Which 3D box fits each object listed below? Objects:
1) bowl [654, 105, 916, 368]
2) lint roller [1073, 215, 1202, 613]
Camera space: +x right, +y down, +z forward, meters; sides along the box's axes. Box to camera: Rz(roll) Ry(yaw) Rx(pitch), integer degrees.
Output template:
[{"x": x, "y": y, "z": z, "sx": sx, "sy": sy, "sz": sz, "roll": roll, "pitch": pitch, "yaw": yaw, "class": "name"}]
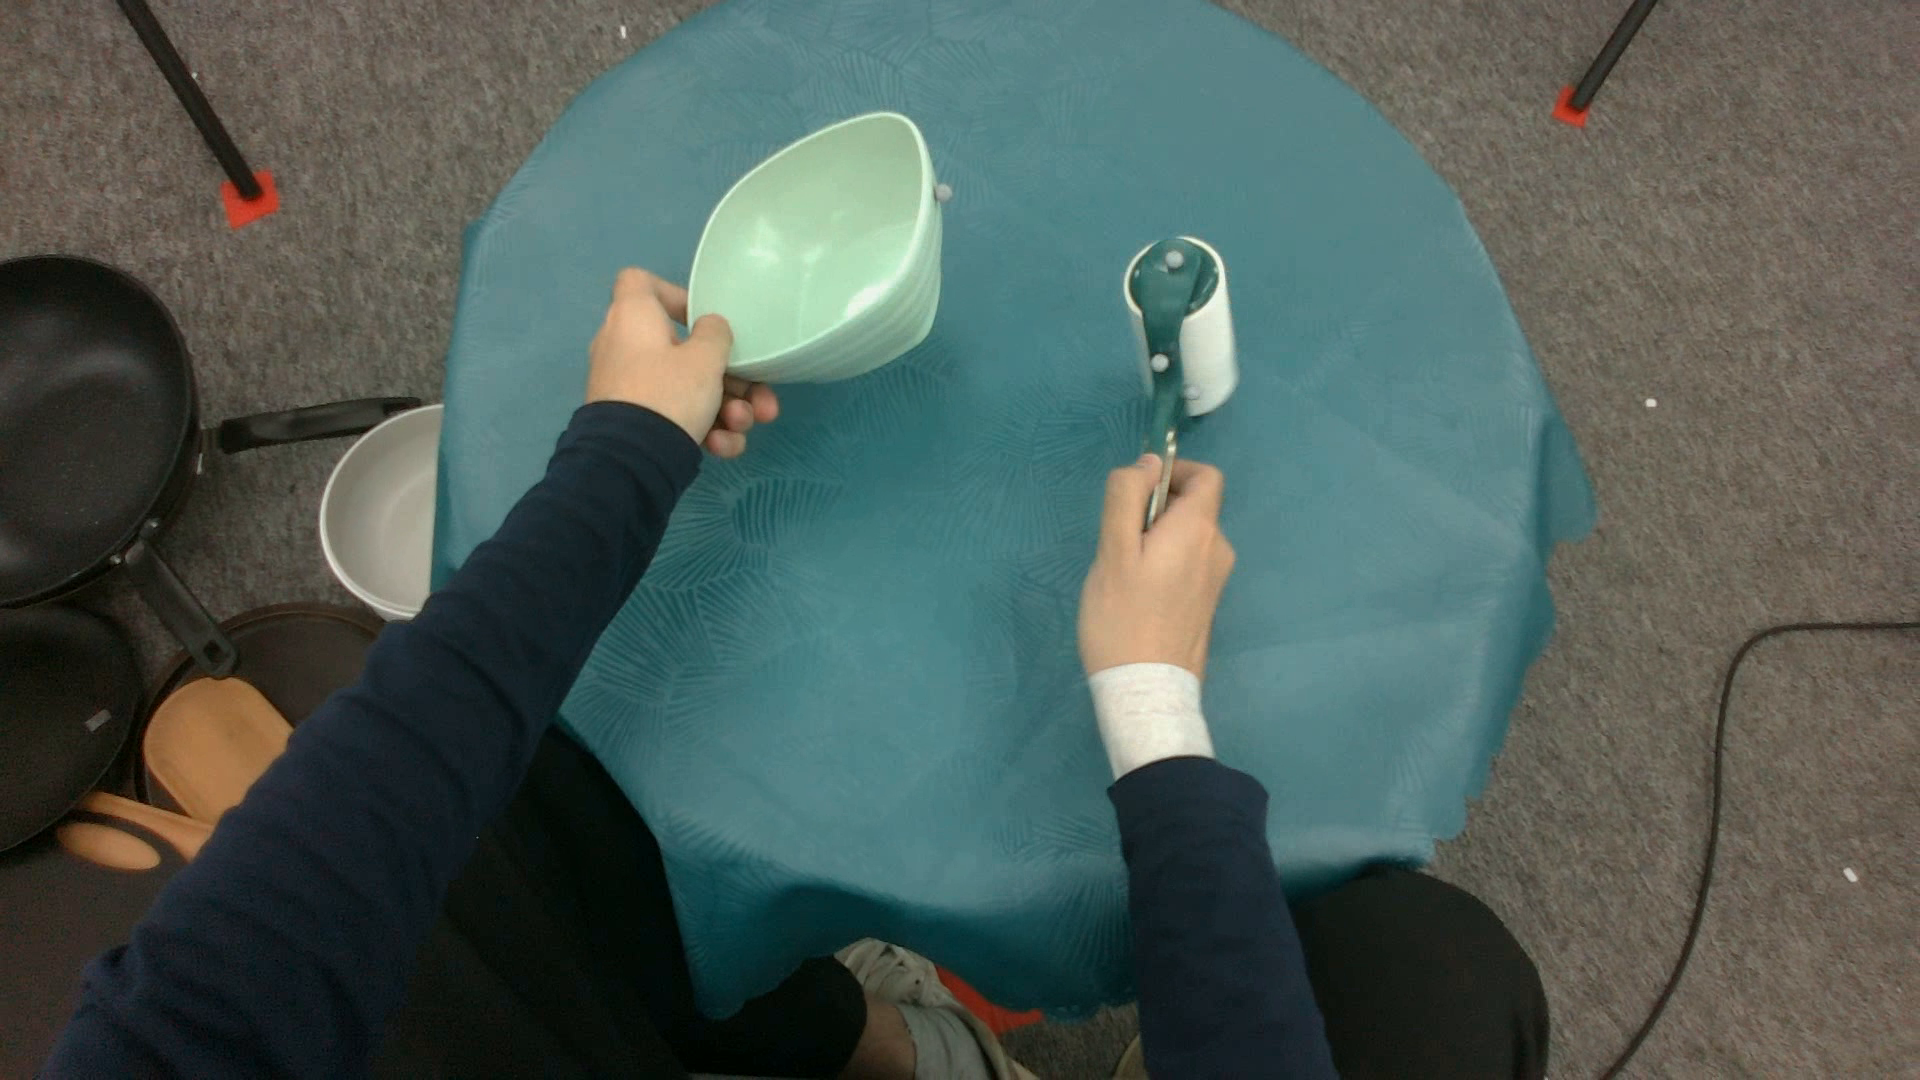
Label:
[{"x": -0.074, "y": -0.137, "z": 0.671, "sx": 0.151, "sy": 0.058, "sz": 0.152, "roll": -16, "pitch": 52, "yaw": 22, "class": "bowl"}, {"x": 0.088, "y": -0.049, "z": 0.669, "sx": 0.048, "sy": 0.134, "sz": 0.180, "roll": 4, "pitch": 71, "yaw": 12, "class": "lint roller"}]
